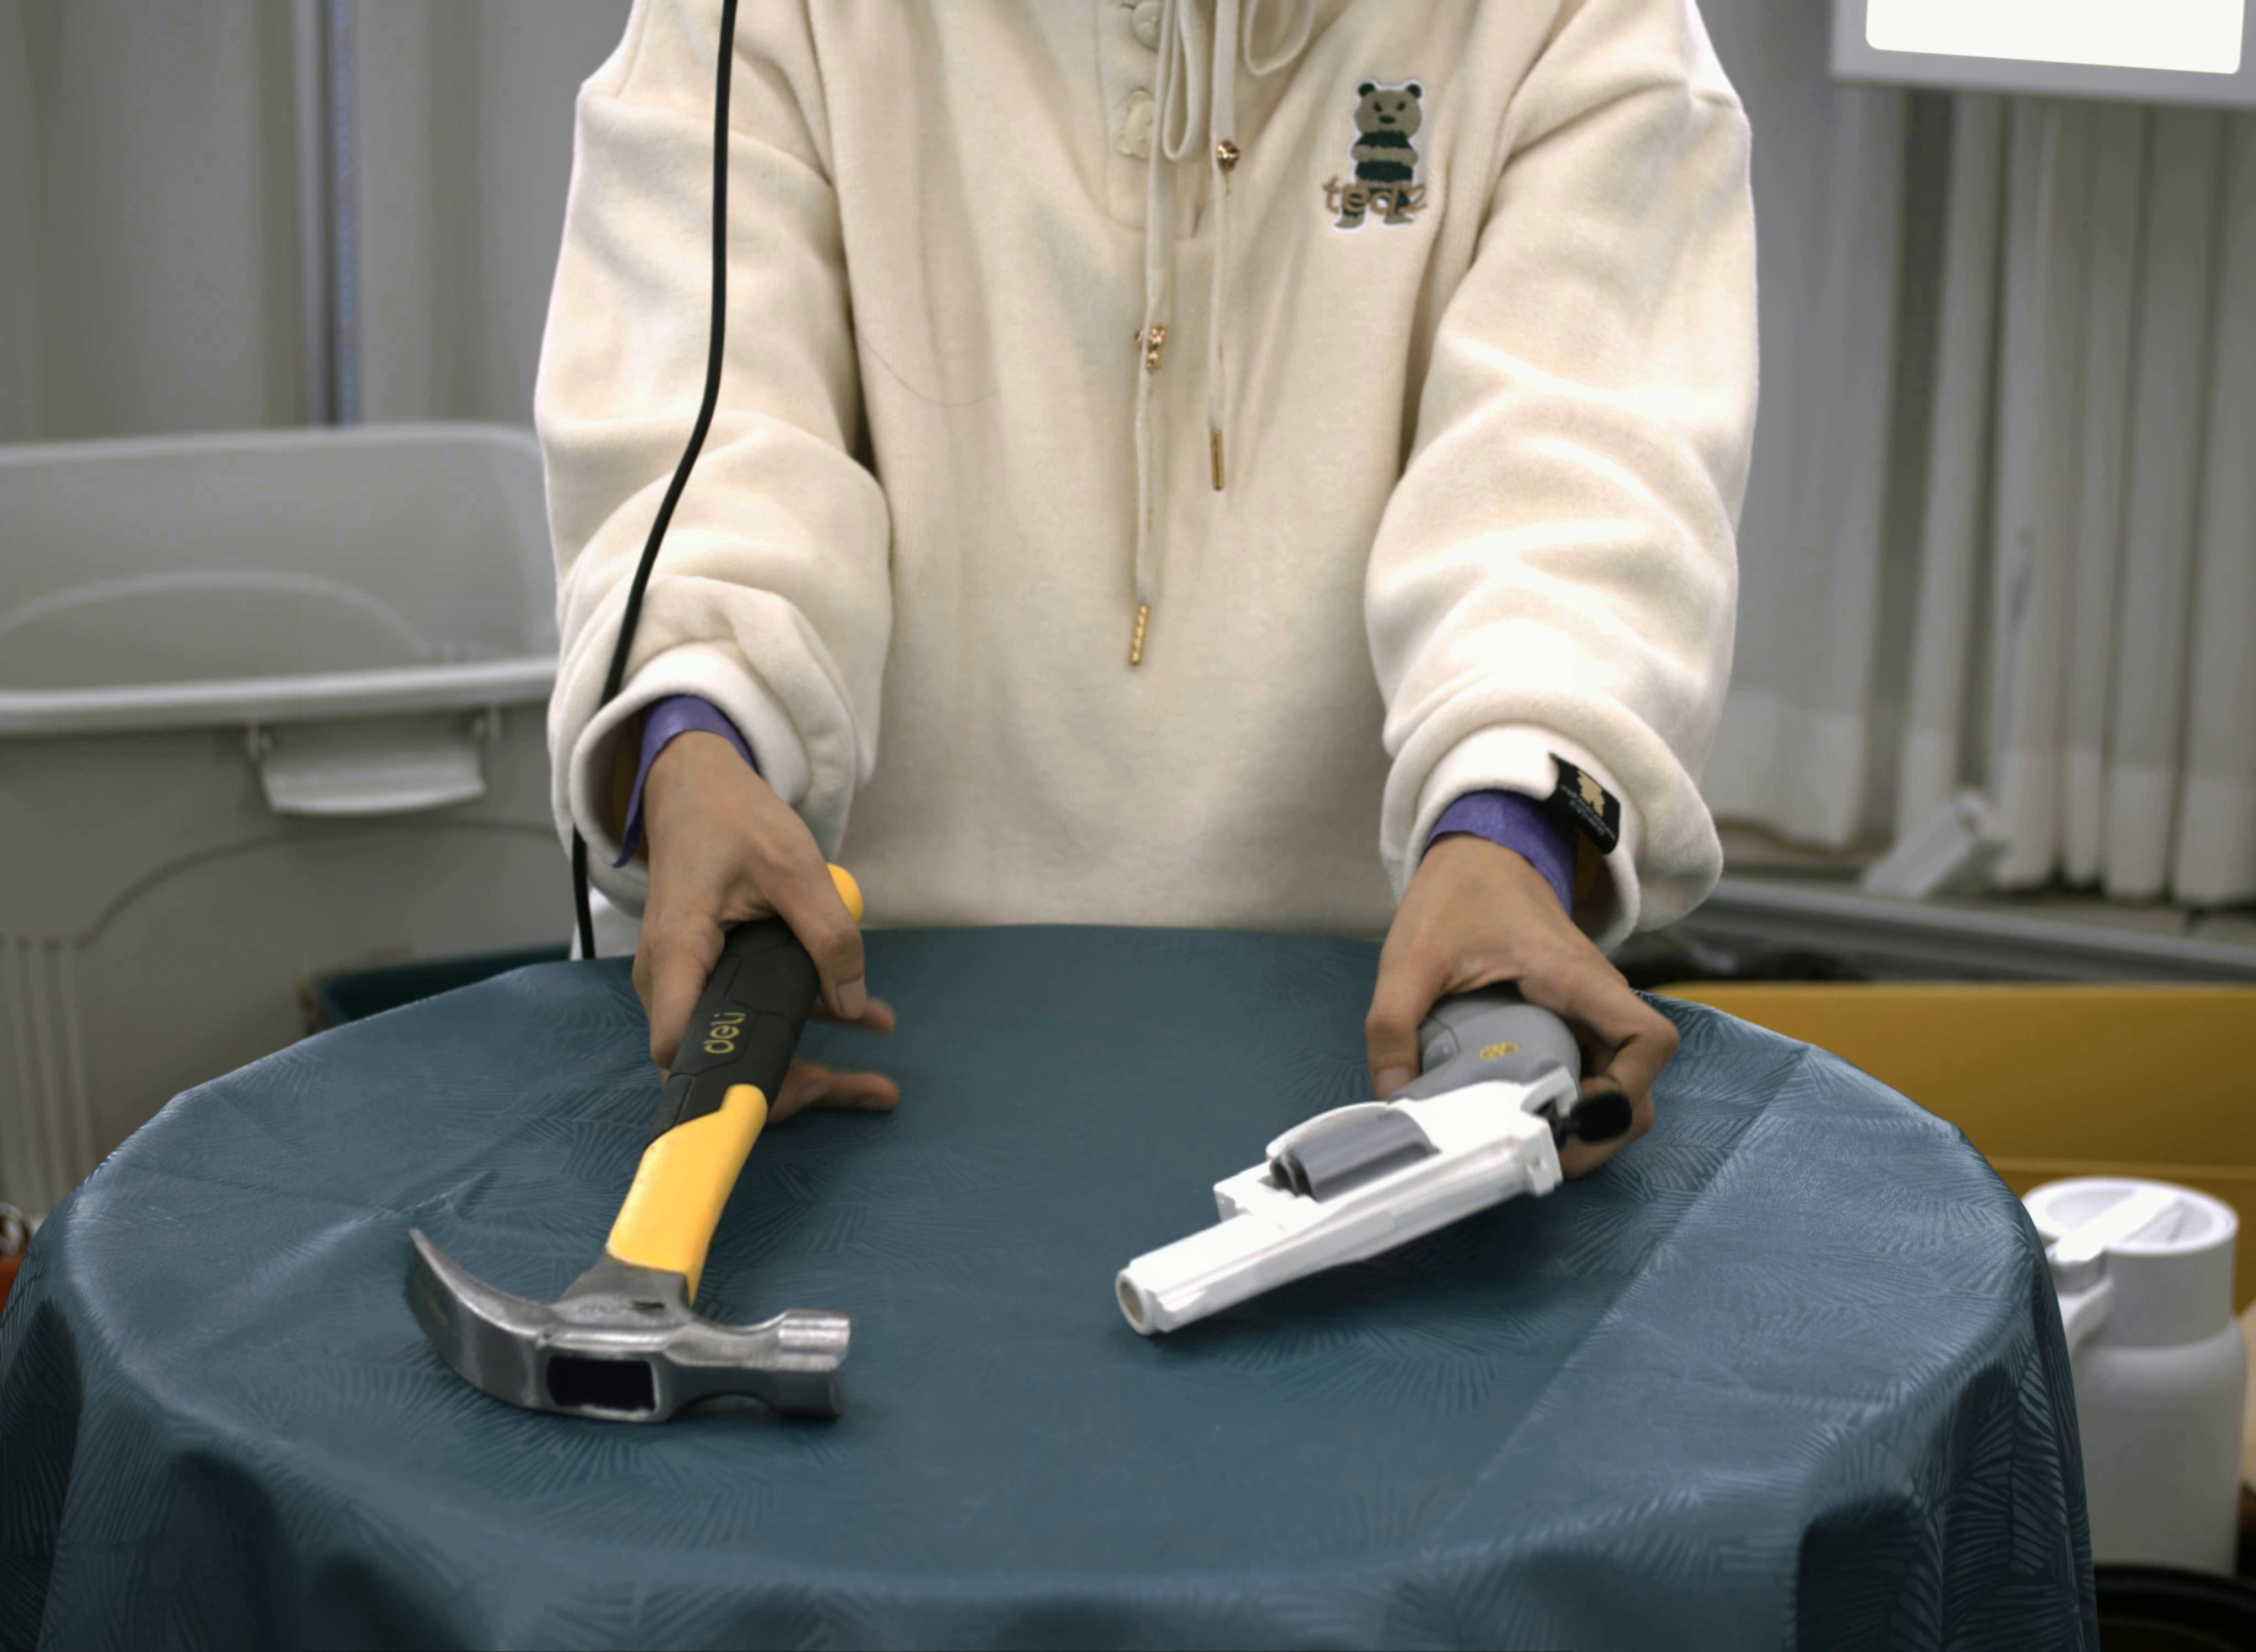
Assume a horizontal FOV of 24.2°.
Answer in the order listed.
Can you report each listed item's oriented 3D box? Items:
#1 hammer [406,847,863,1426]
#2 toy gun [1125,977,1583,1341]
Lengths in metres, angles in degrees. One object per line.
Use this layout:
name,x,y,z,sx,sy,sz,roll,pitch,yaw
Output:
hammer,-0.125,0.084,1.580,0.130,0.032,0.336,0,24,7
toy gun,0.067,0.098,1.579,0.209,0.039,0.140,-20,18,-27
